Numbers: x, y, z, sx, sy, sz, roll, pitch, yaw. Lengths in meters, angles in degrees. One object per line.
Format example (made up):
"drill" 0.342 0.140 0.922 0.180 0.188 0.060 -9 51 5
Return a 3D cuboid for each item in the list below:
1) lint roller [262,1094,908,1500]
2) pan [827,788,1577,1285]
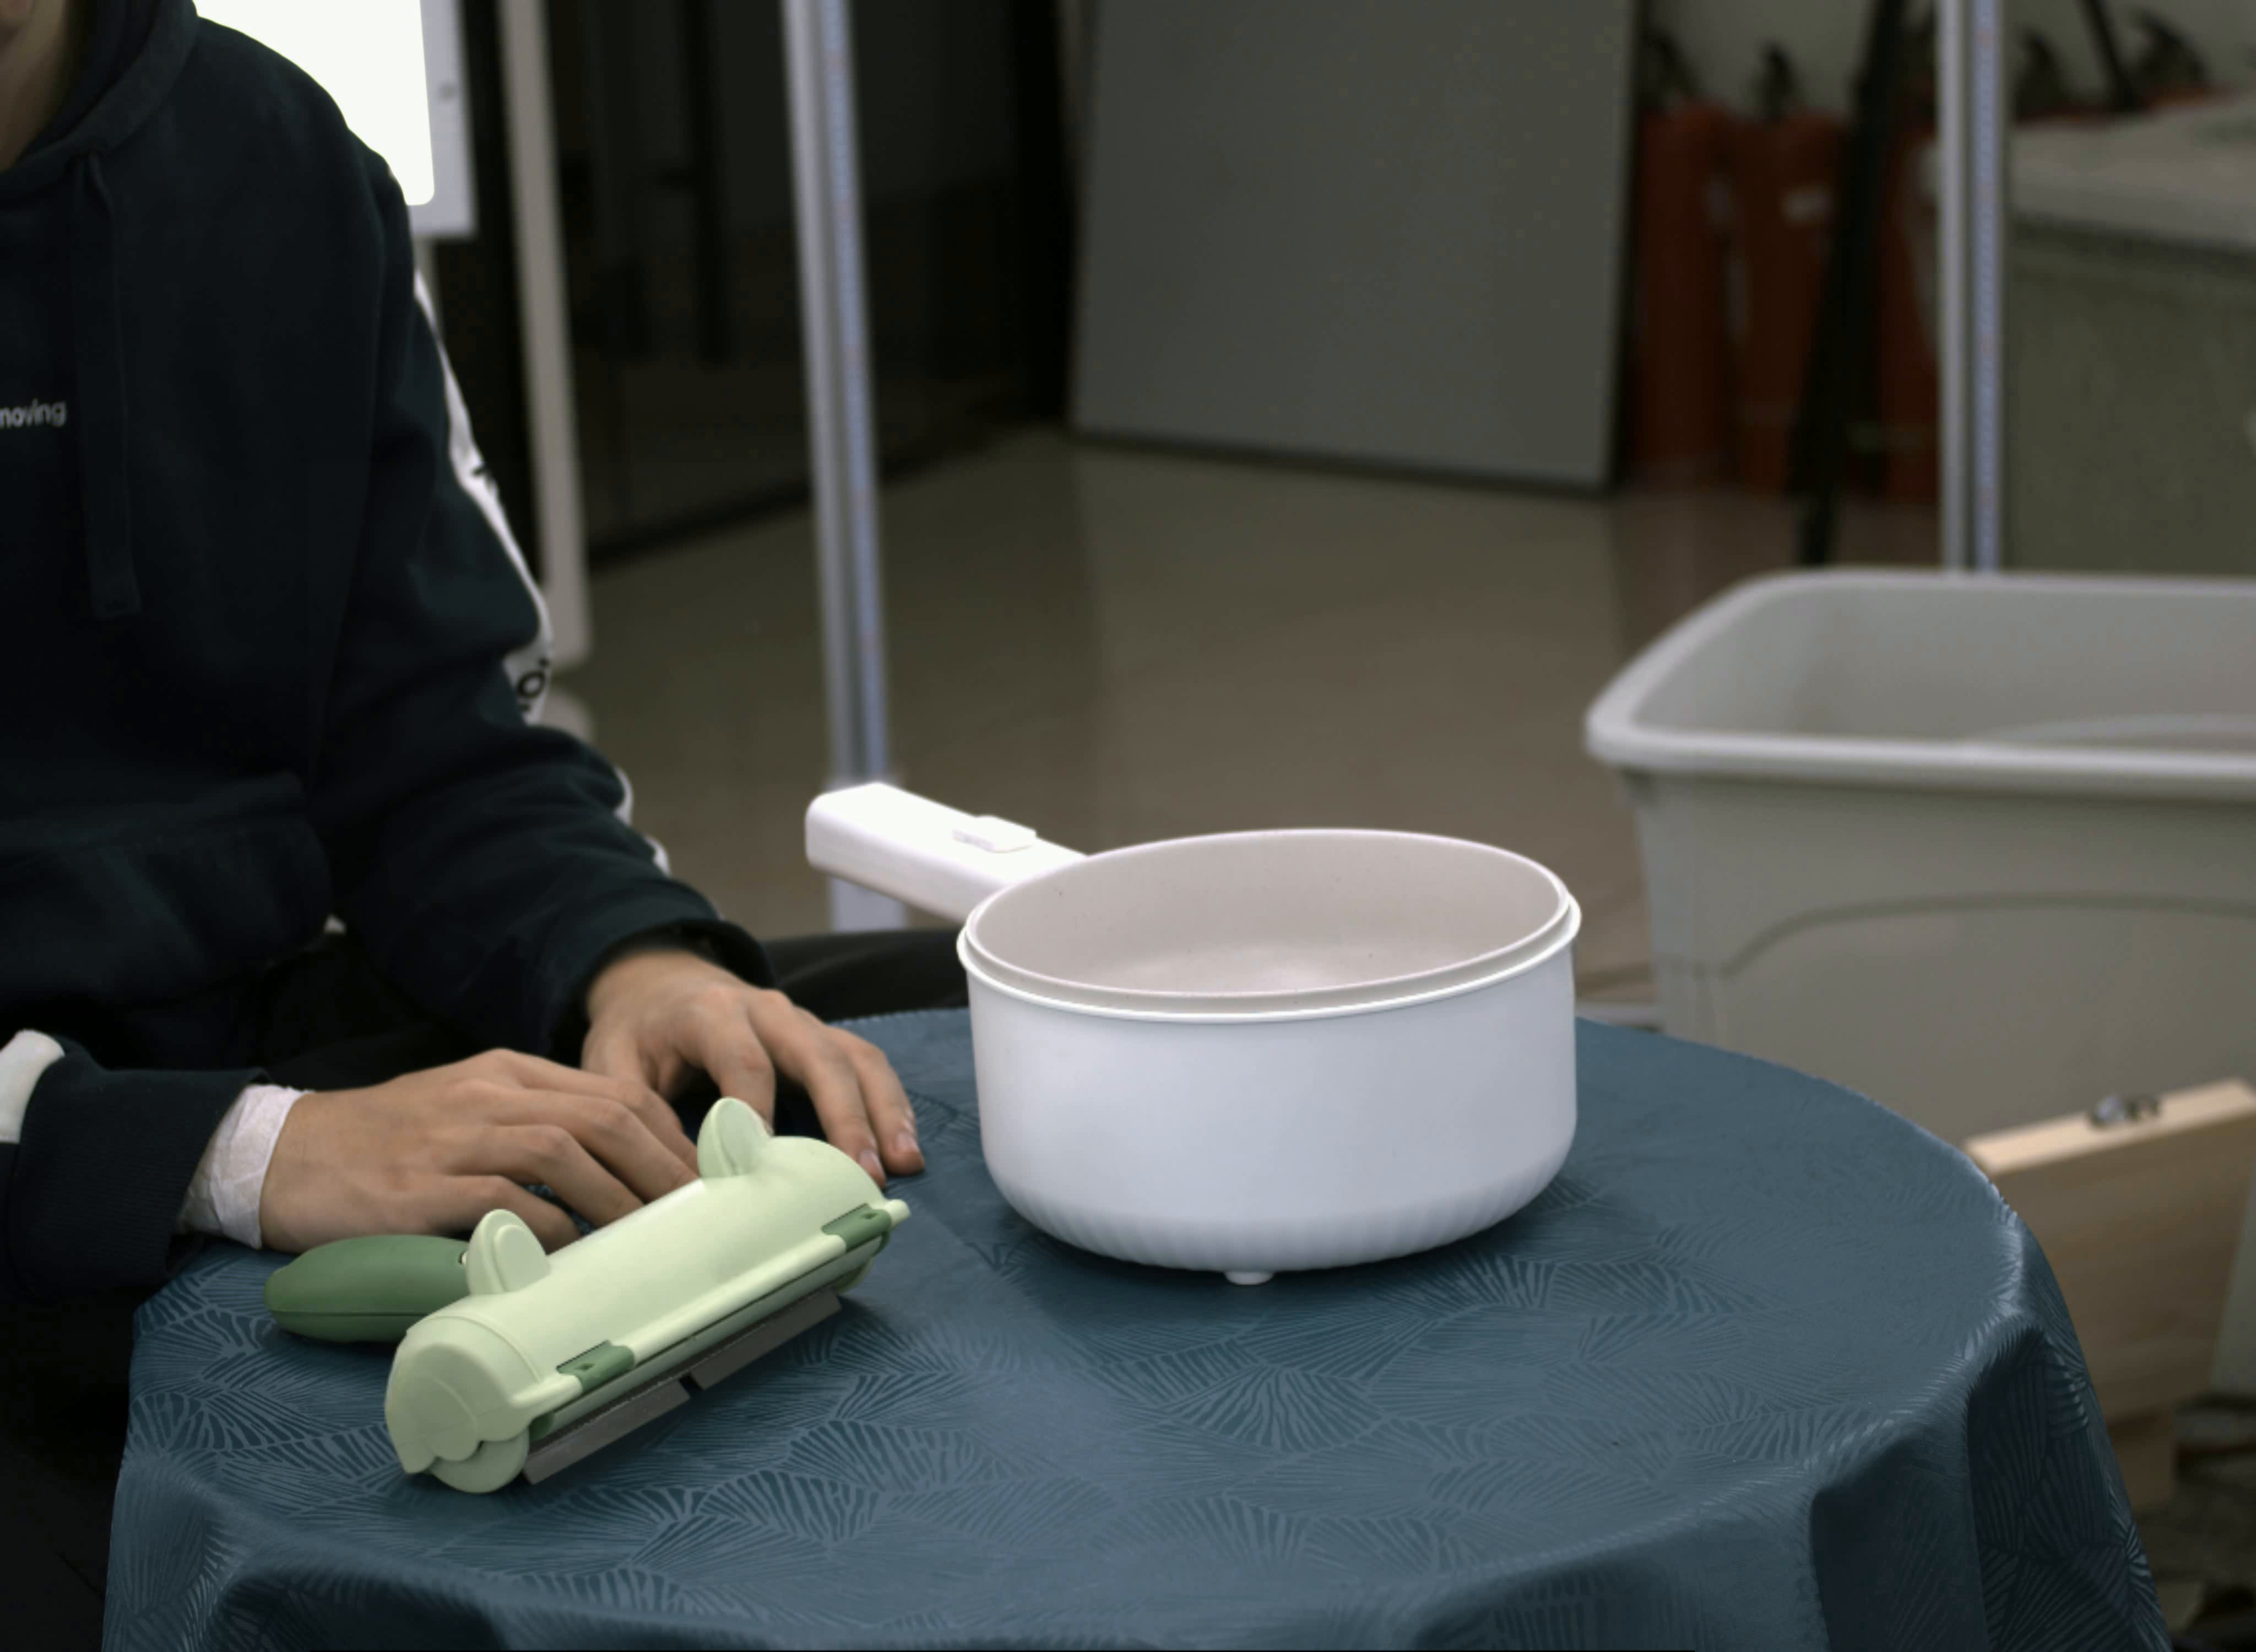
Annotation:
"lint roller" -0.191 0.128 1.639 0.184 0.083 0.195 11 20 31
"pan" 0.005 0.062 1.799 0.197 0.103 0.358 -13 16 -31
